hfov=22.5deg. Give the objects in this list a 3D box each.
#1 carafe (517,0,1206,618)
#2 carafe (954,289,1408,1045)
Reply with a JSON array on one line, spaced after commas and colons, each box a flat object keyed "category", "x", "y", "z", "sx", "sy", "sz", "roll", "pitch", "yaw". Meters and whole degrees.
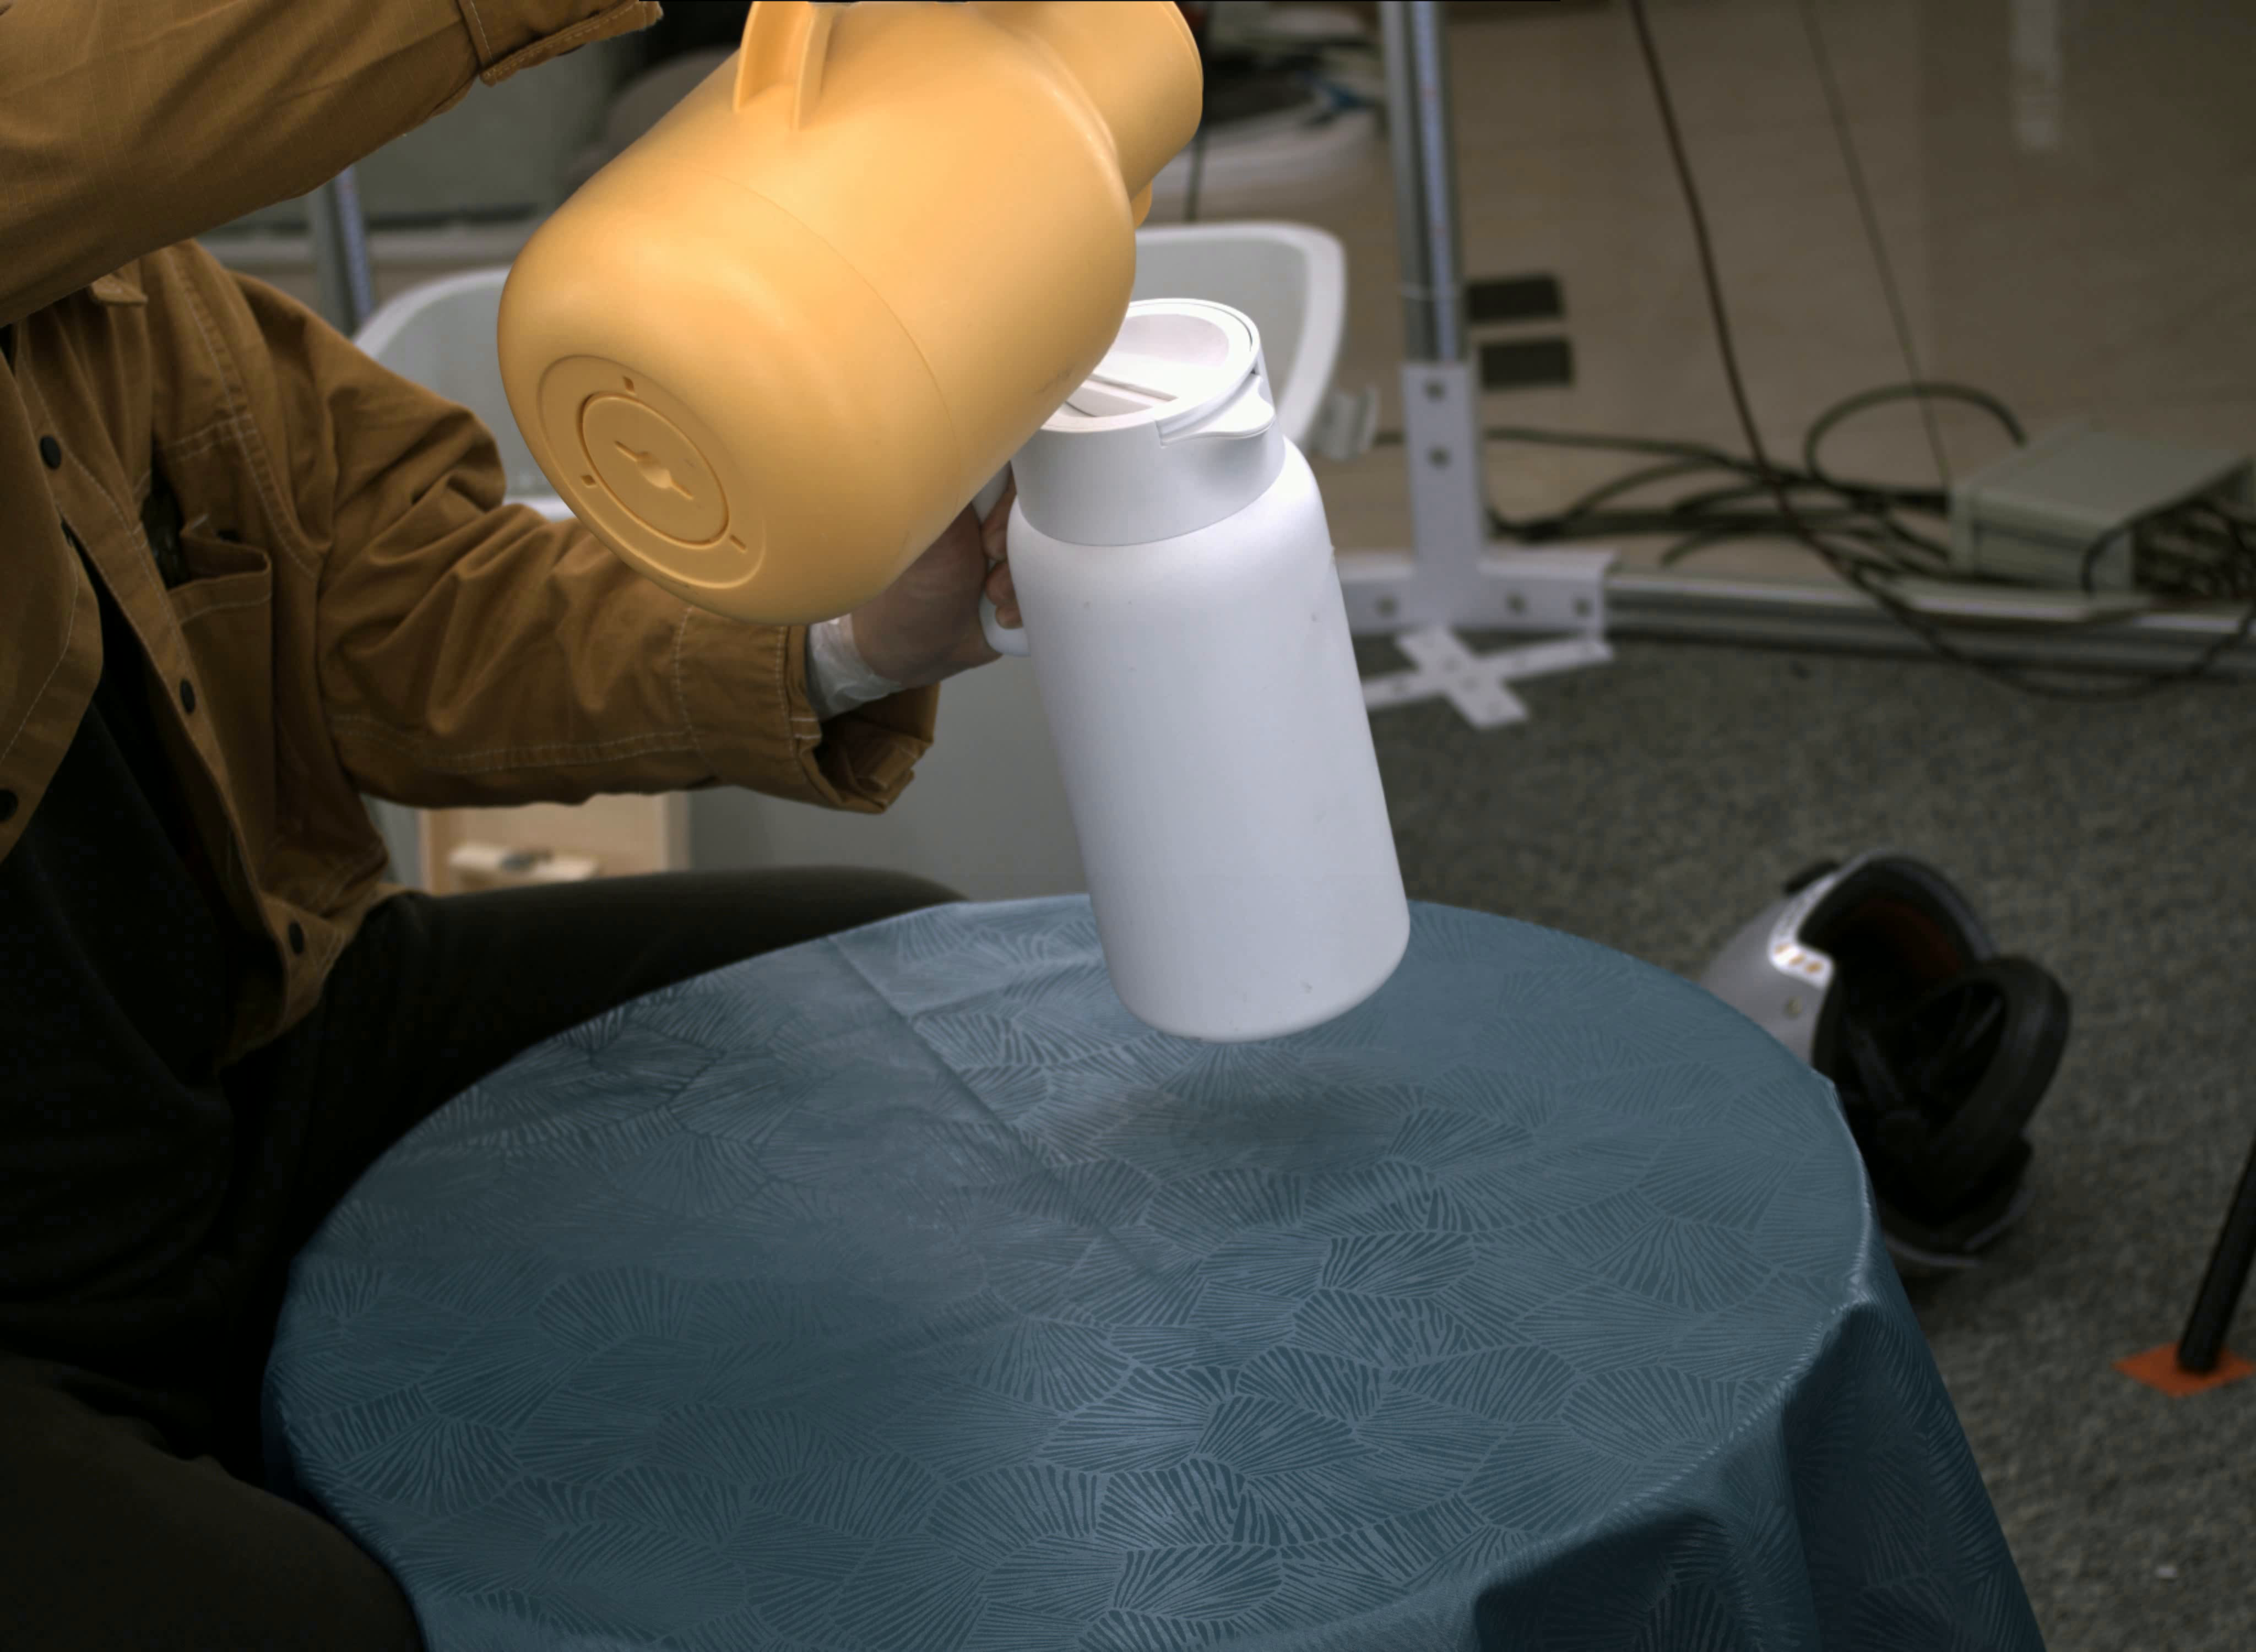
[{"category": "carafe", "x": -0.081, "y": -0.214, "z": 1.877, "sx": 0.162, "sy": 0.206, "sz": 0.257, "roll": 16, "pitch": 50, "yaw": 31}, {"category": "carafe", "x": 0.012, "y": -0.060, "z": 2.103, "sx": 0.171, "sy": 0.274, "sz": 0.122, "roll": 19, "pitch": 47, "yaw": 41}]
